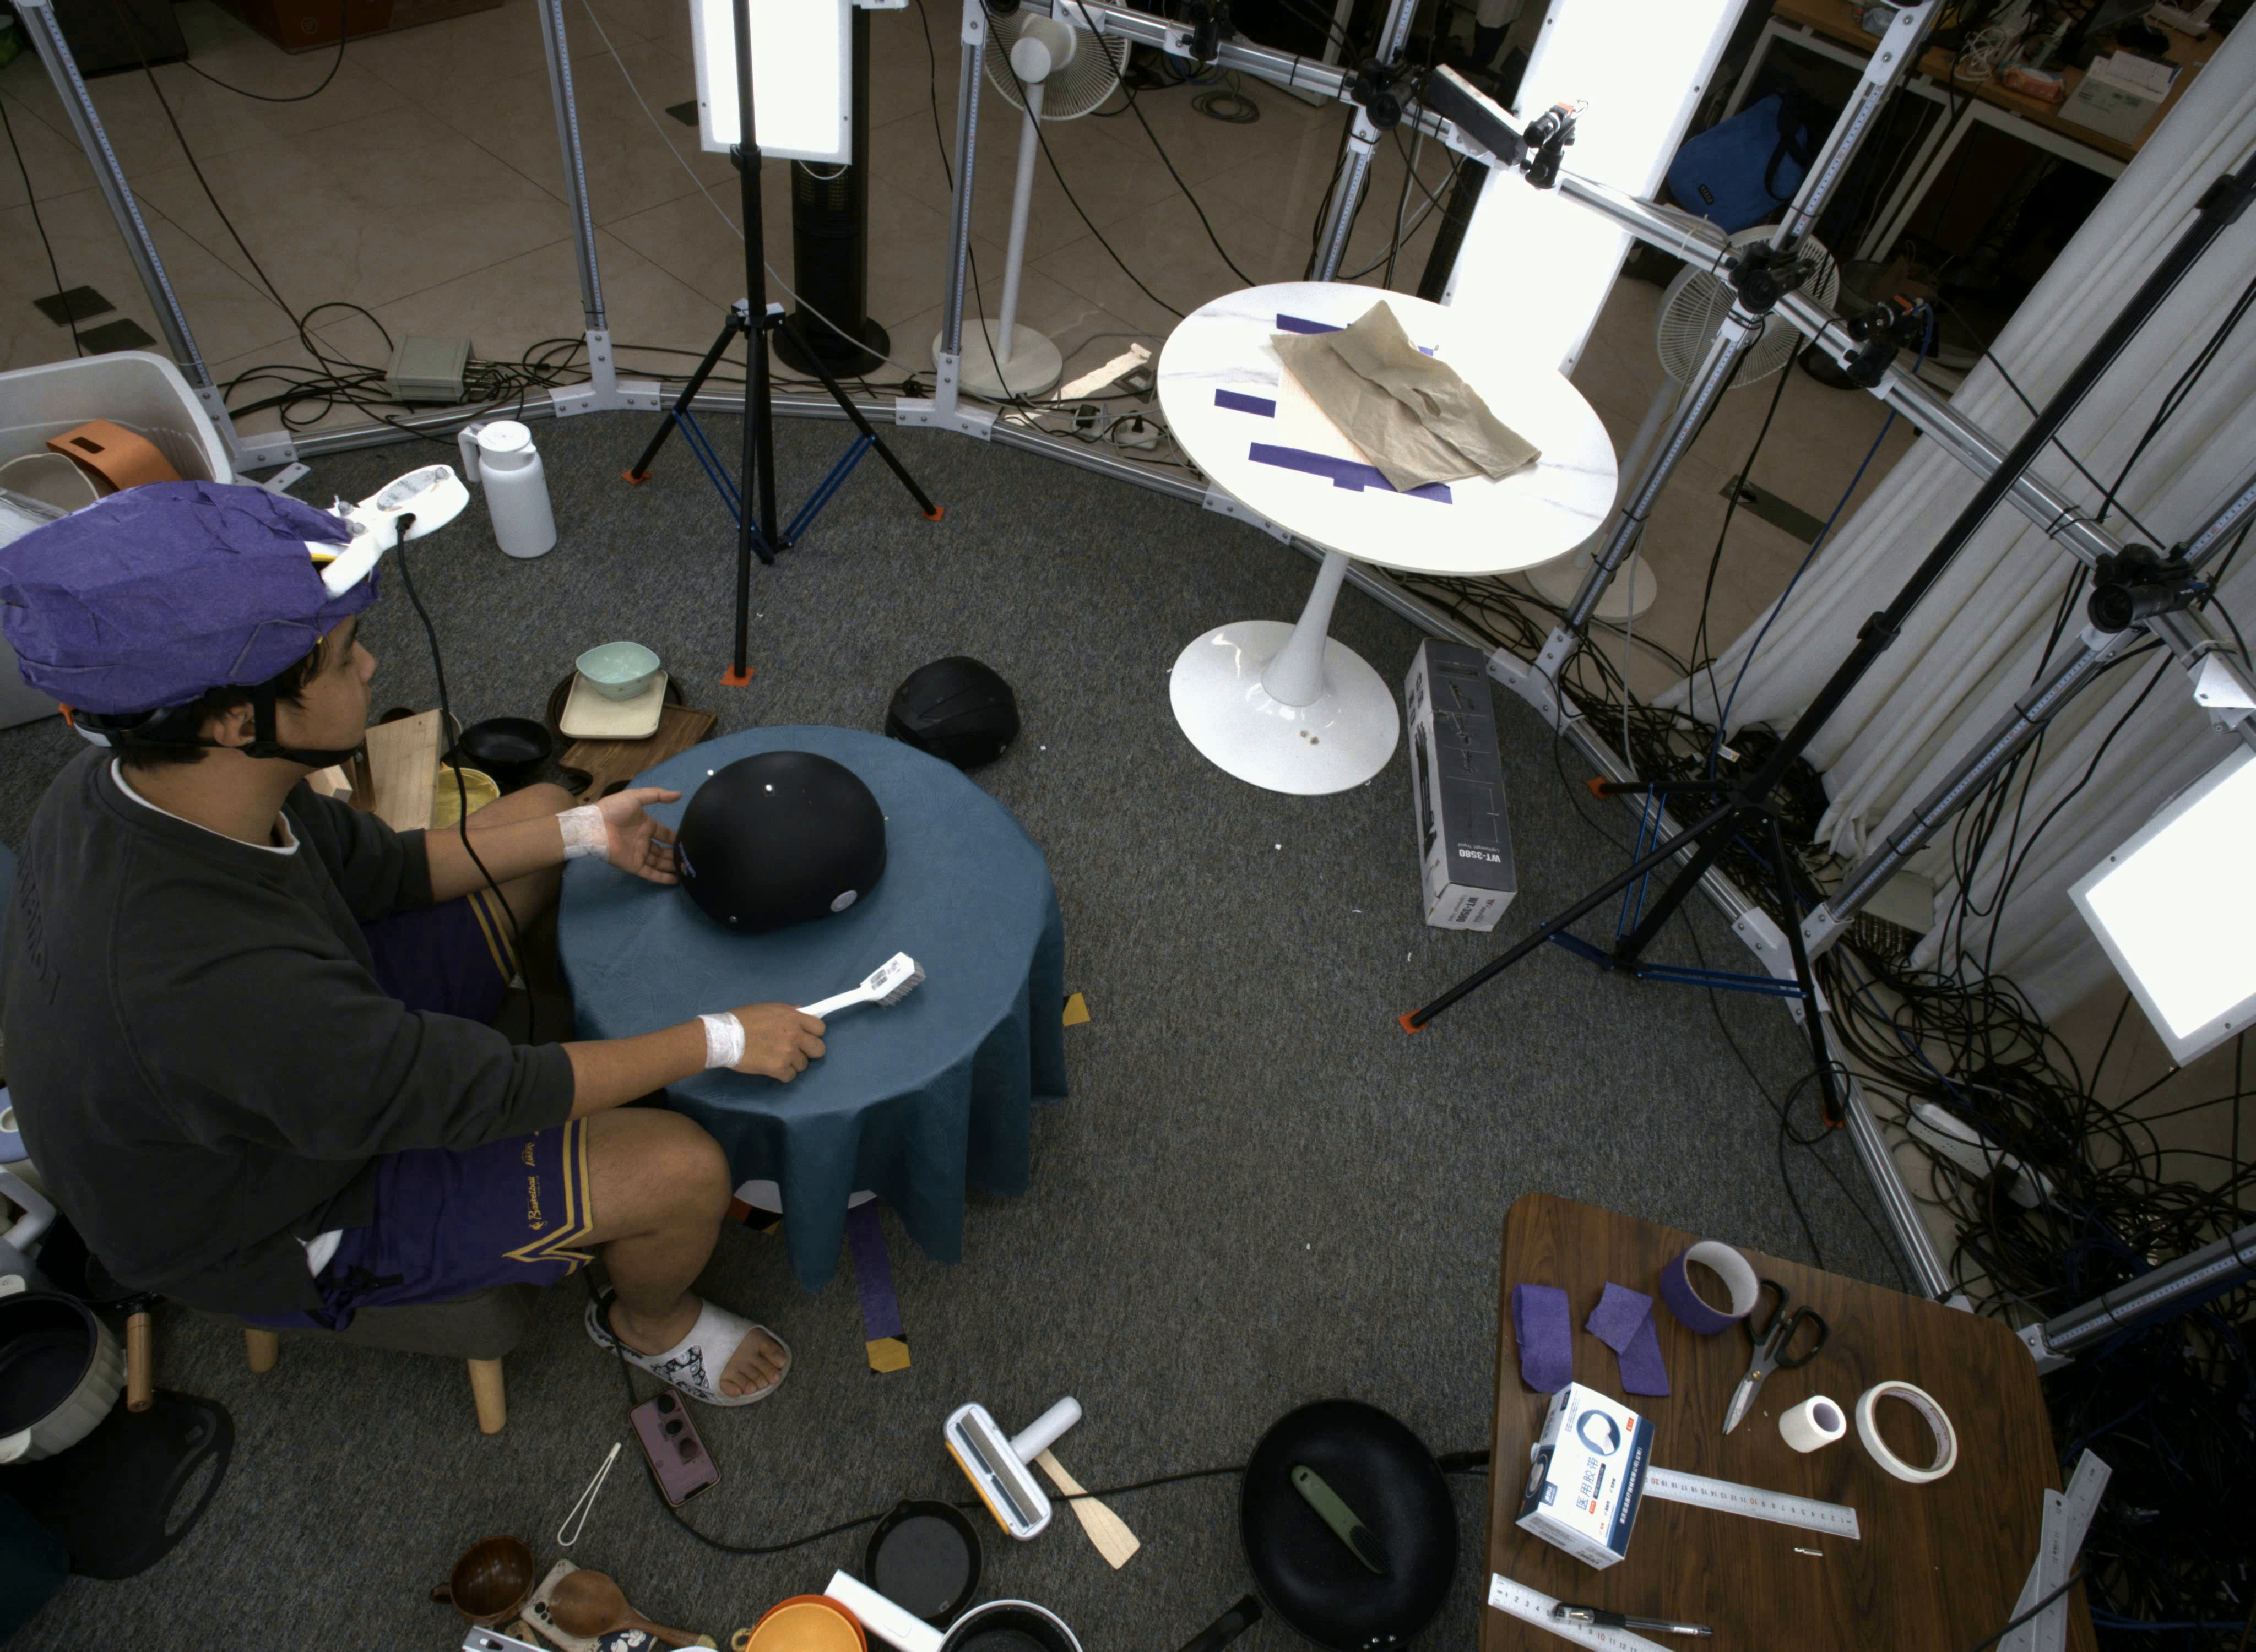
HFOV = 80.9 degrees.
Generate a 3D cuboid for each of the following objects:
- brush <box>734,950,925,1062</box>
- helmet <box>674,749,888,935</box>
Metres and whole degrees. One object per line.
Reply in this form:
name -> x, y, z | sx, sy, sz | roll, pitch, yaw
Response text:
brush -> -0.358, 0.224, 1.564 | 0.243, 0.052, 0.033 | -30, 50, -17
helmet -> -0.433, -0.001, 1.625 | 0.275, 0.169, 0.225 | -16, 62, -26
